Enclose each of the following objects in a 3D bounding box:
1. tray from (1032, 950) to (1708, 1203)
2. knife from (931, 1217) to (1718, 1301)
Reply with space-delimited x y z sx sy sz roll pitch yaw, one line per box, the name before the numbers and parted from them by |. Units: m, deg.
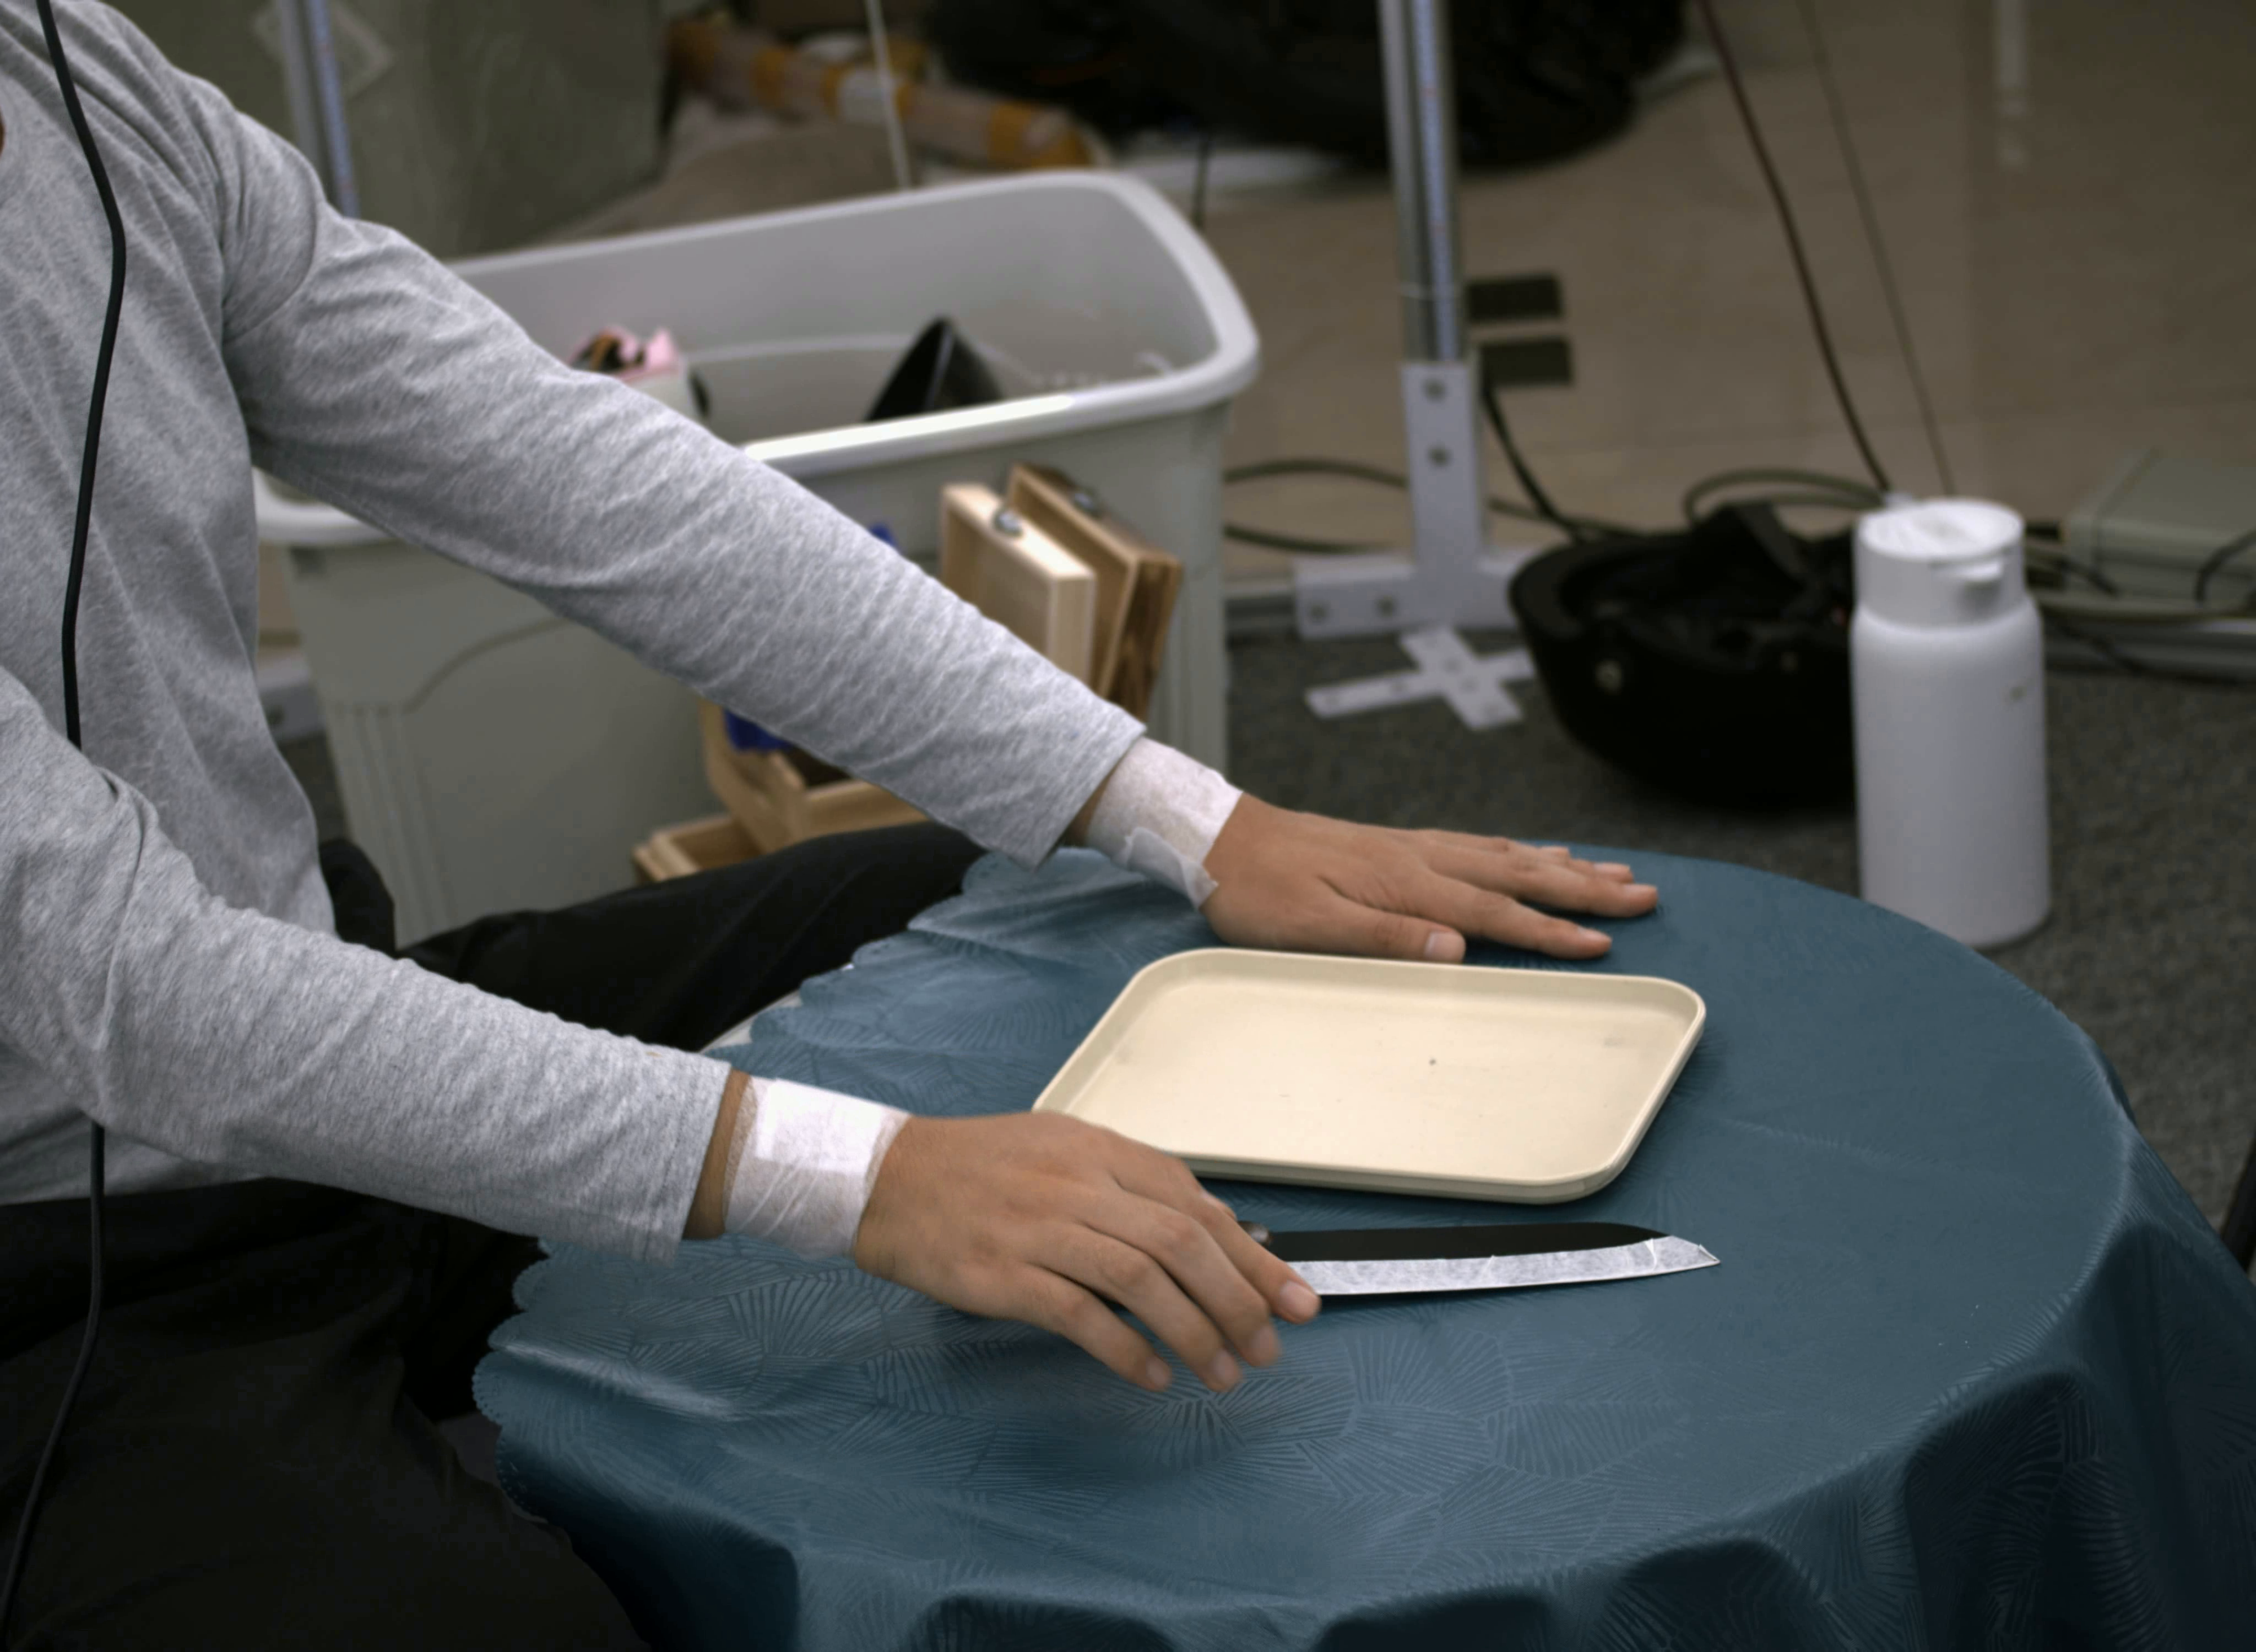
tray | 0.095 0.097 2.198 0.239 0.018 0.169 4 26 22
knife | 0.071 0.159 2.074 0.288 0.020 0.049 -1 29 5
